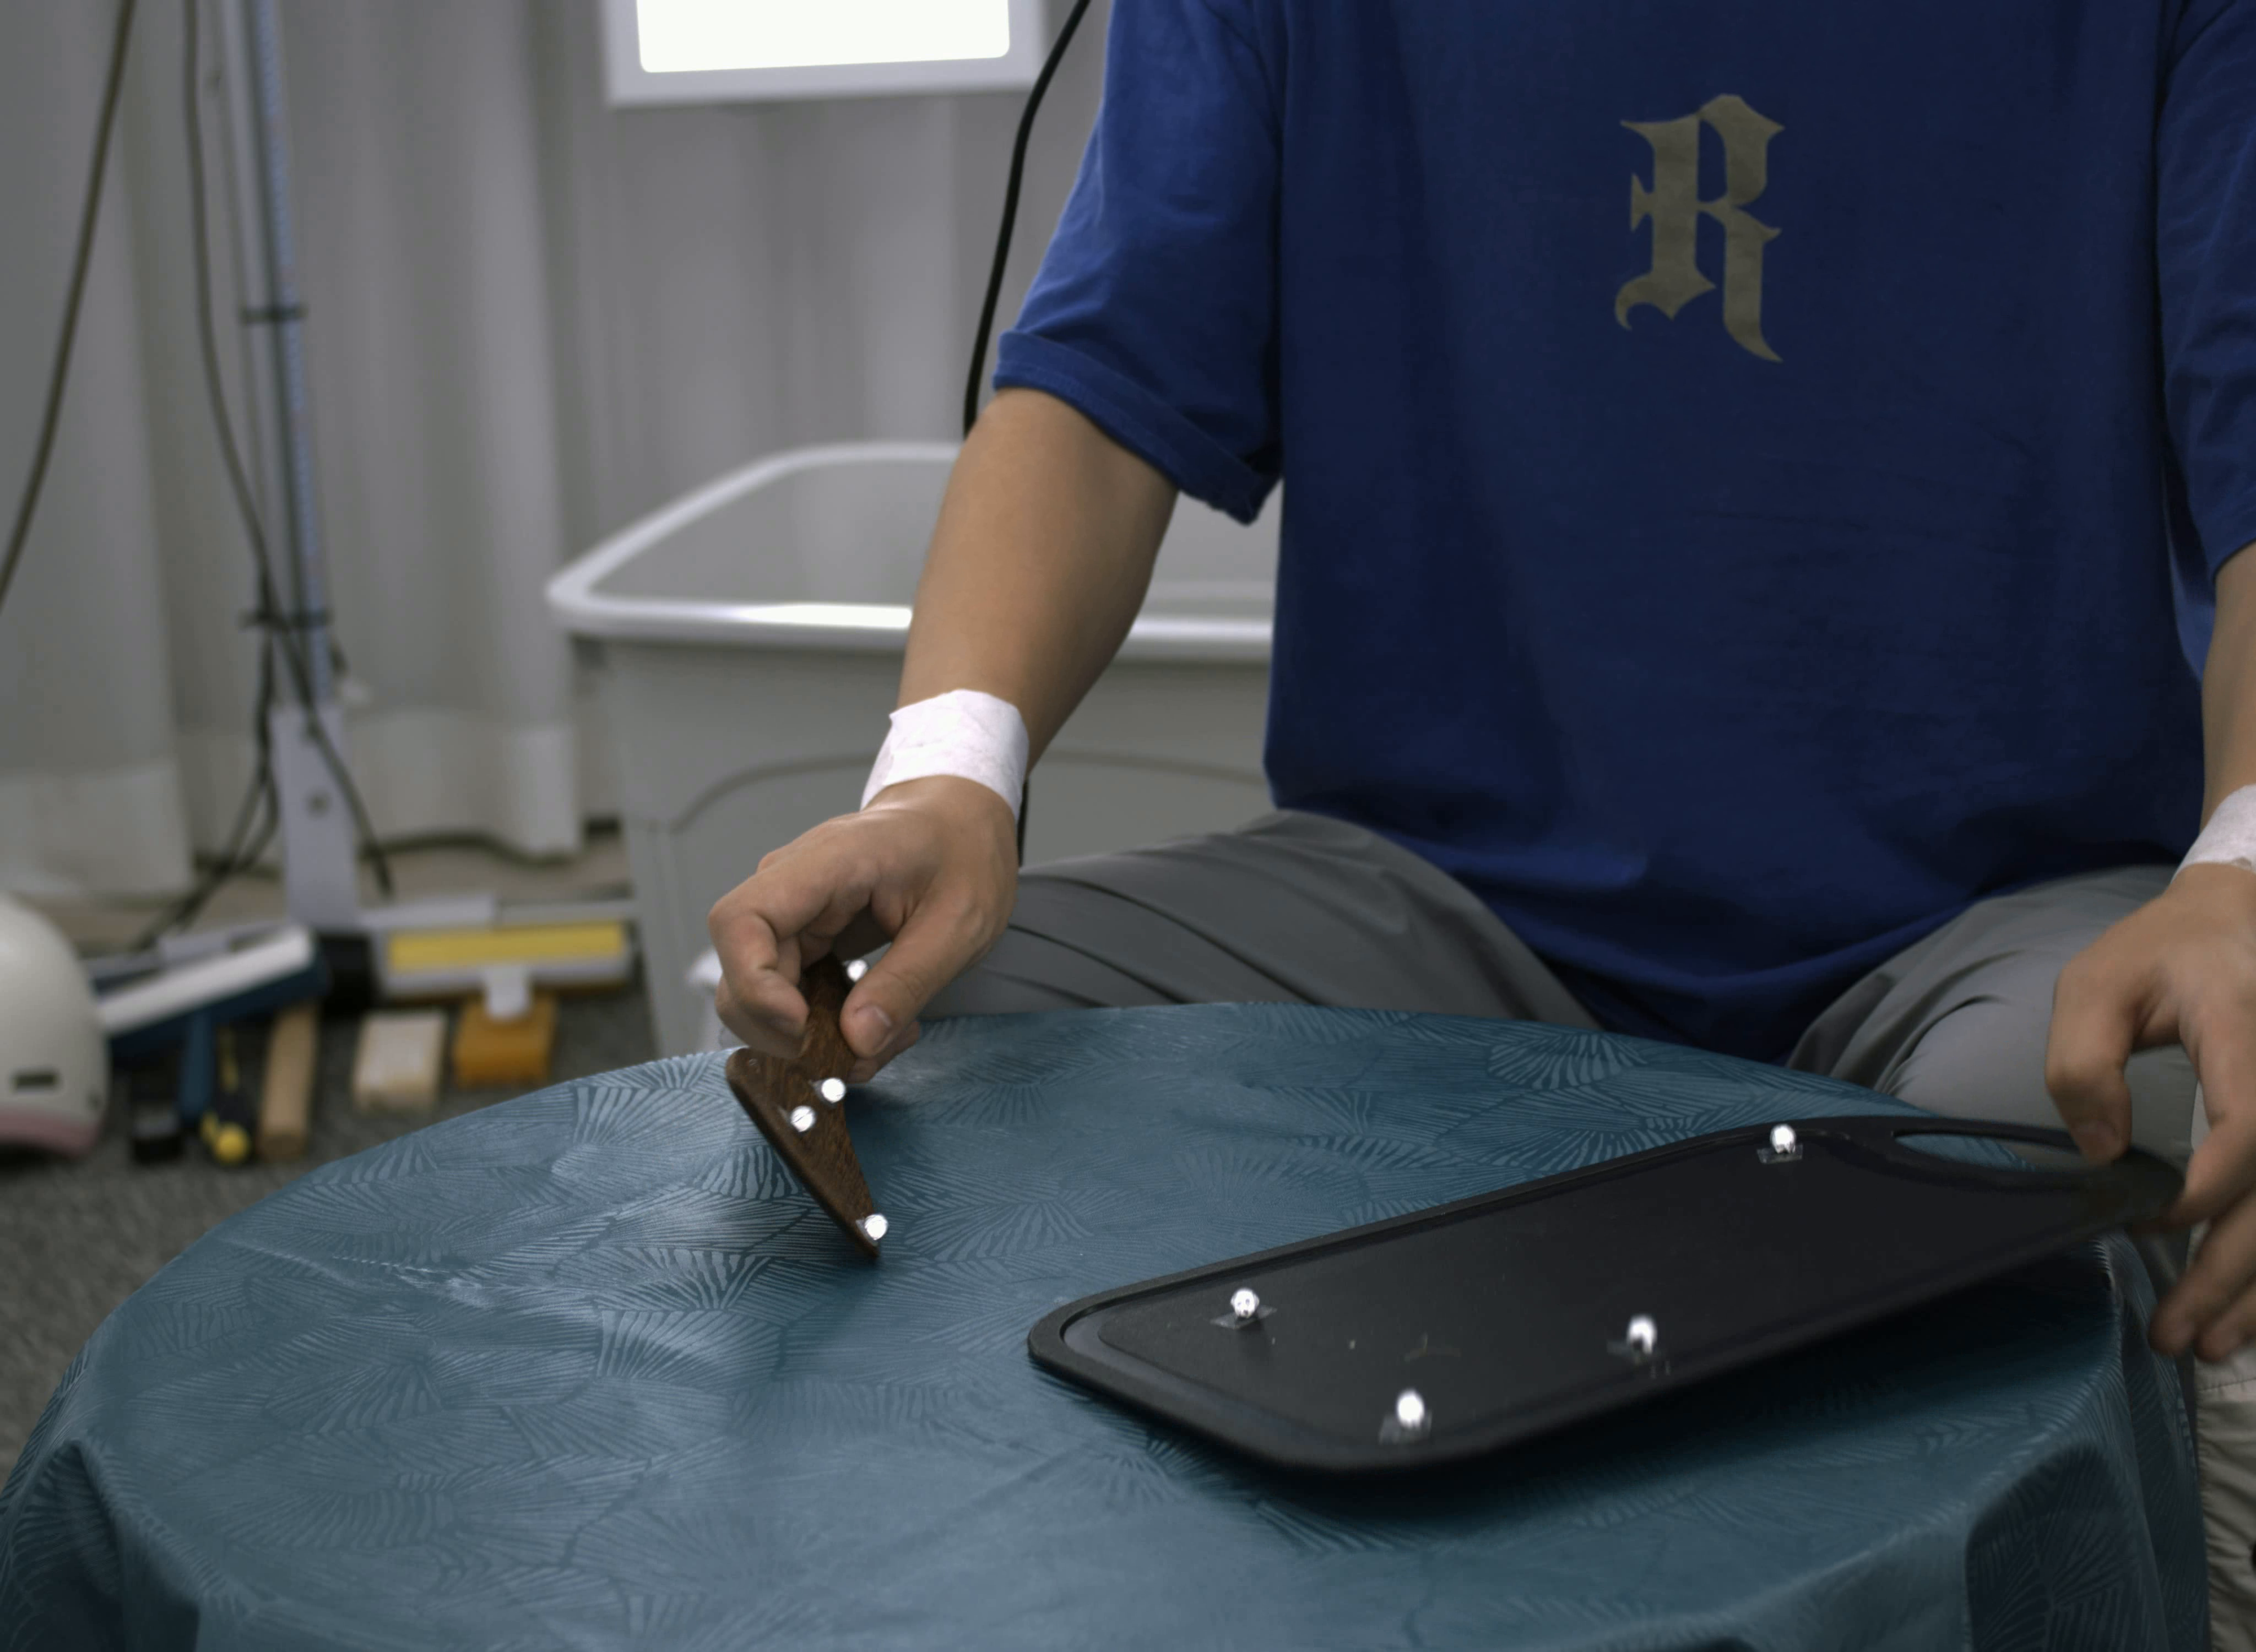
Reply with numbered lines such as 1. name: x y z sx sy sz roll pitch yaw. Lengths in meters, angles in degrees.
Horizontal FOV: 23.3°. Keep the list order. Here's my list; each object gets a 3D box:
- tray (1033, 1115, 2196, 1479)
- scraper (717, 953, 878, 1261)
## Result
1. tray: 0.146 0.128 1.581 0.324 0.010 0.212 -13 13 -27
2. scraper: -0.099 0.080 1.742 0.011 0.075 0.212 -37 11 11
